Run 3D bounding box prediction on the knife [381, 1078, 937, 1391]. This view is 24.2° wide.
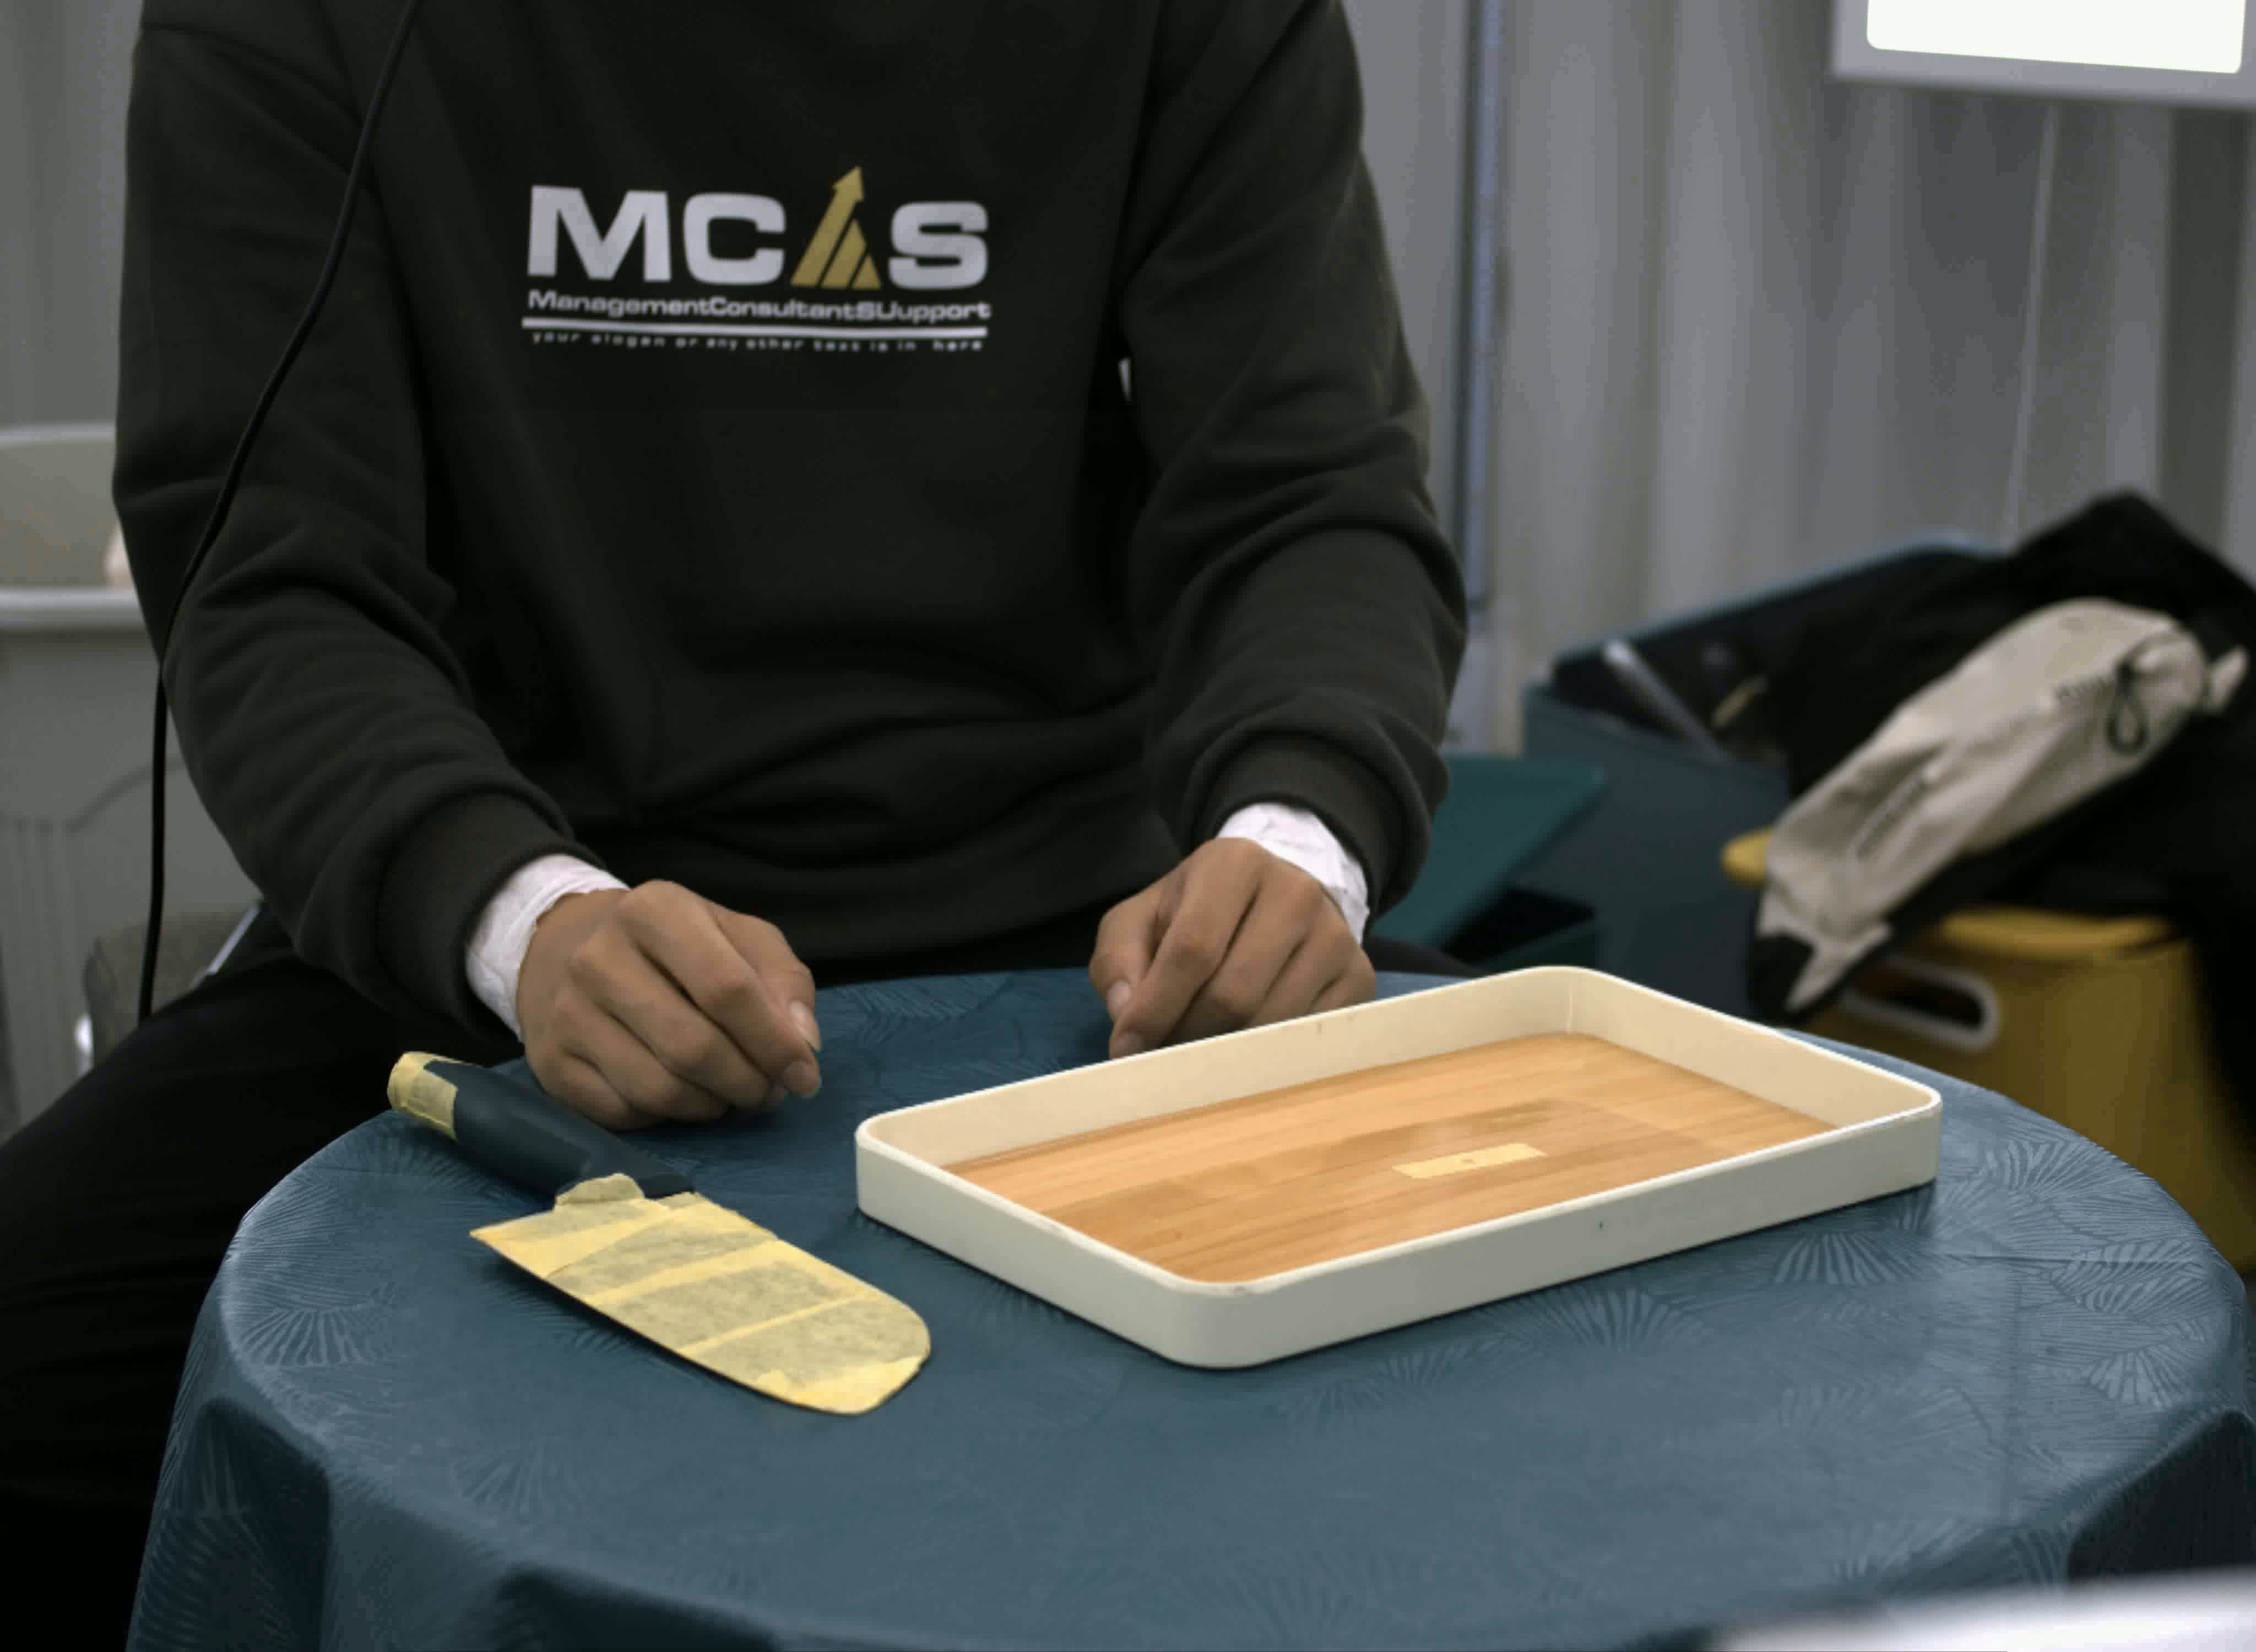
[{"bbox_3d":[-0.151,0.122,1.558,0.081,0.027,0.285,-9,19,-37],"label":"knife"}]

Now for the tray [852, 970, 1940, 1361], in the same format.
[{"bbox_3d":[0.084,0.100,1.623,0.302,0.027,0.189,-10,18,-36],"label":"tray"}]
